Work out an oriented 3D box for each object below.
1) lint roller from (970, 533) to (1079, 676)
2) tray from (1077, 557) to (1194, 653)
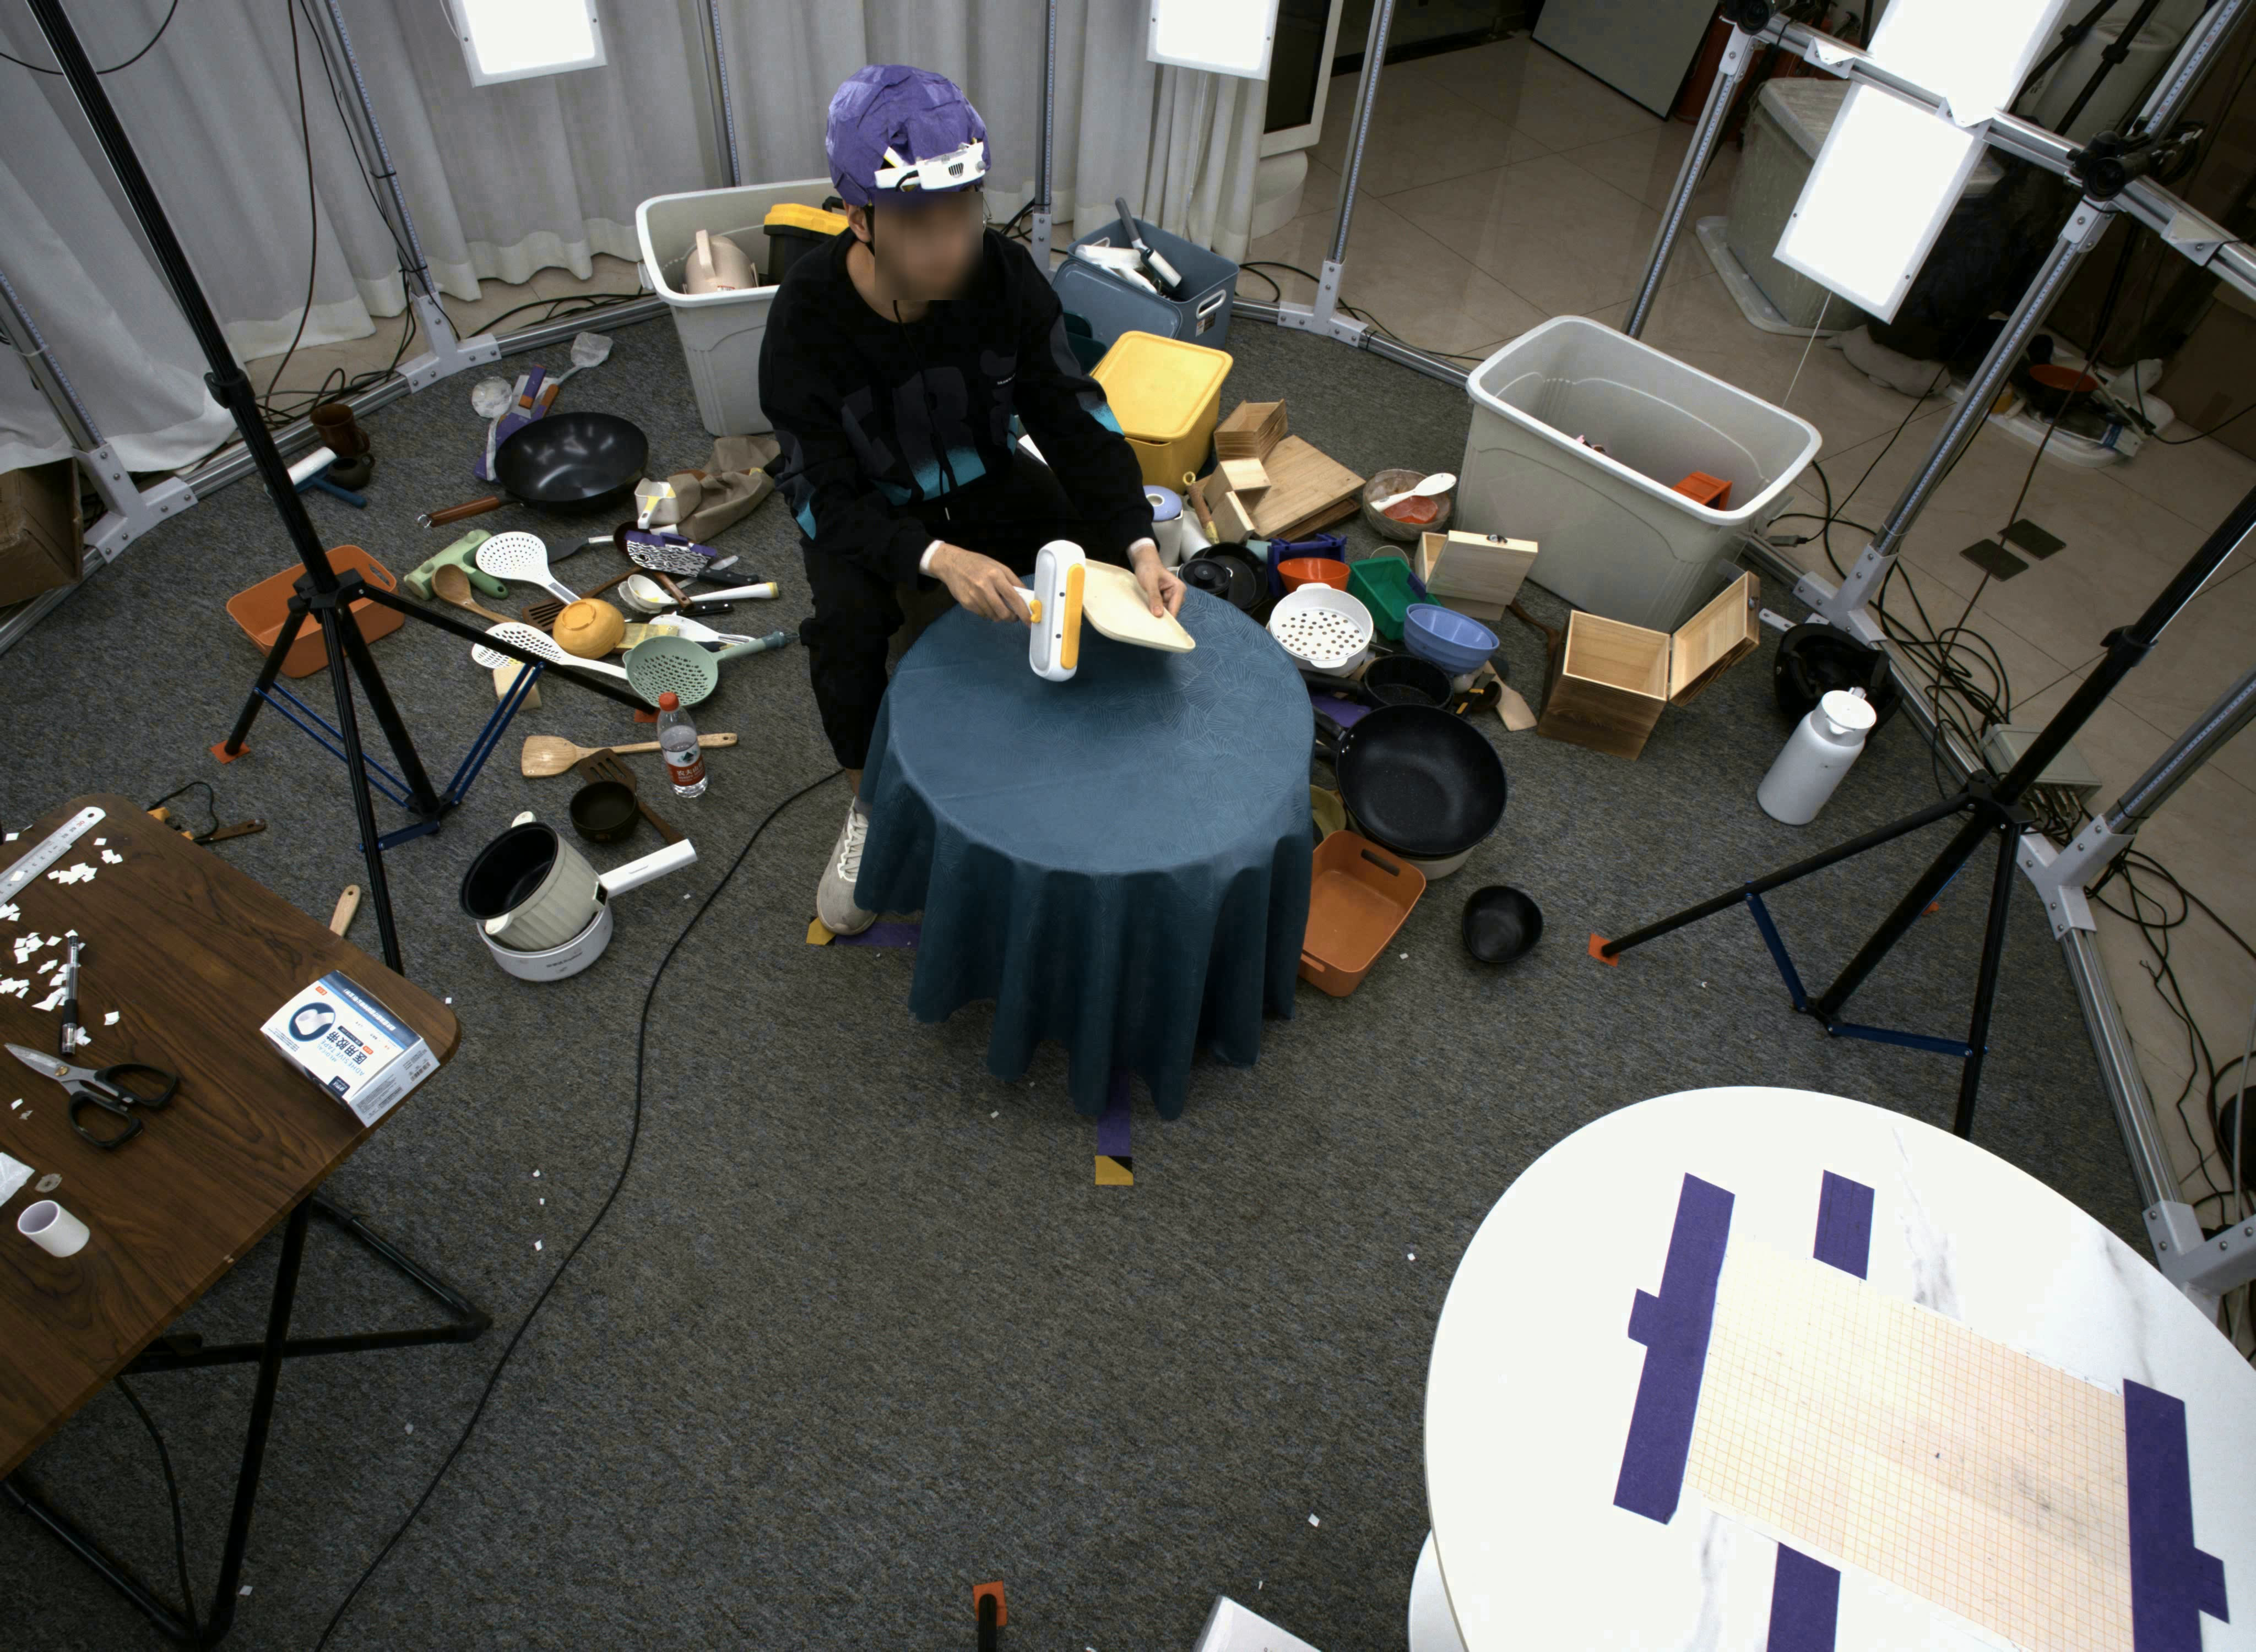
[{"bbox_3d":[-0.142,-0.313,1.795,0.074,0.190,0.195,-18,26,-39],"label":"lint roller"},{"bbox_3d":[-0.017,-0.320,1.838,0.170,0.017,0.245,7,33,-33],"label":"tray"}]
